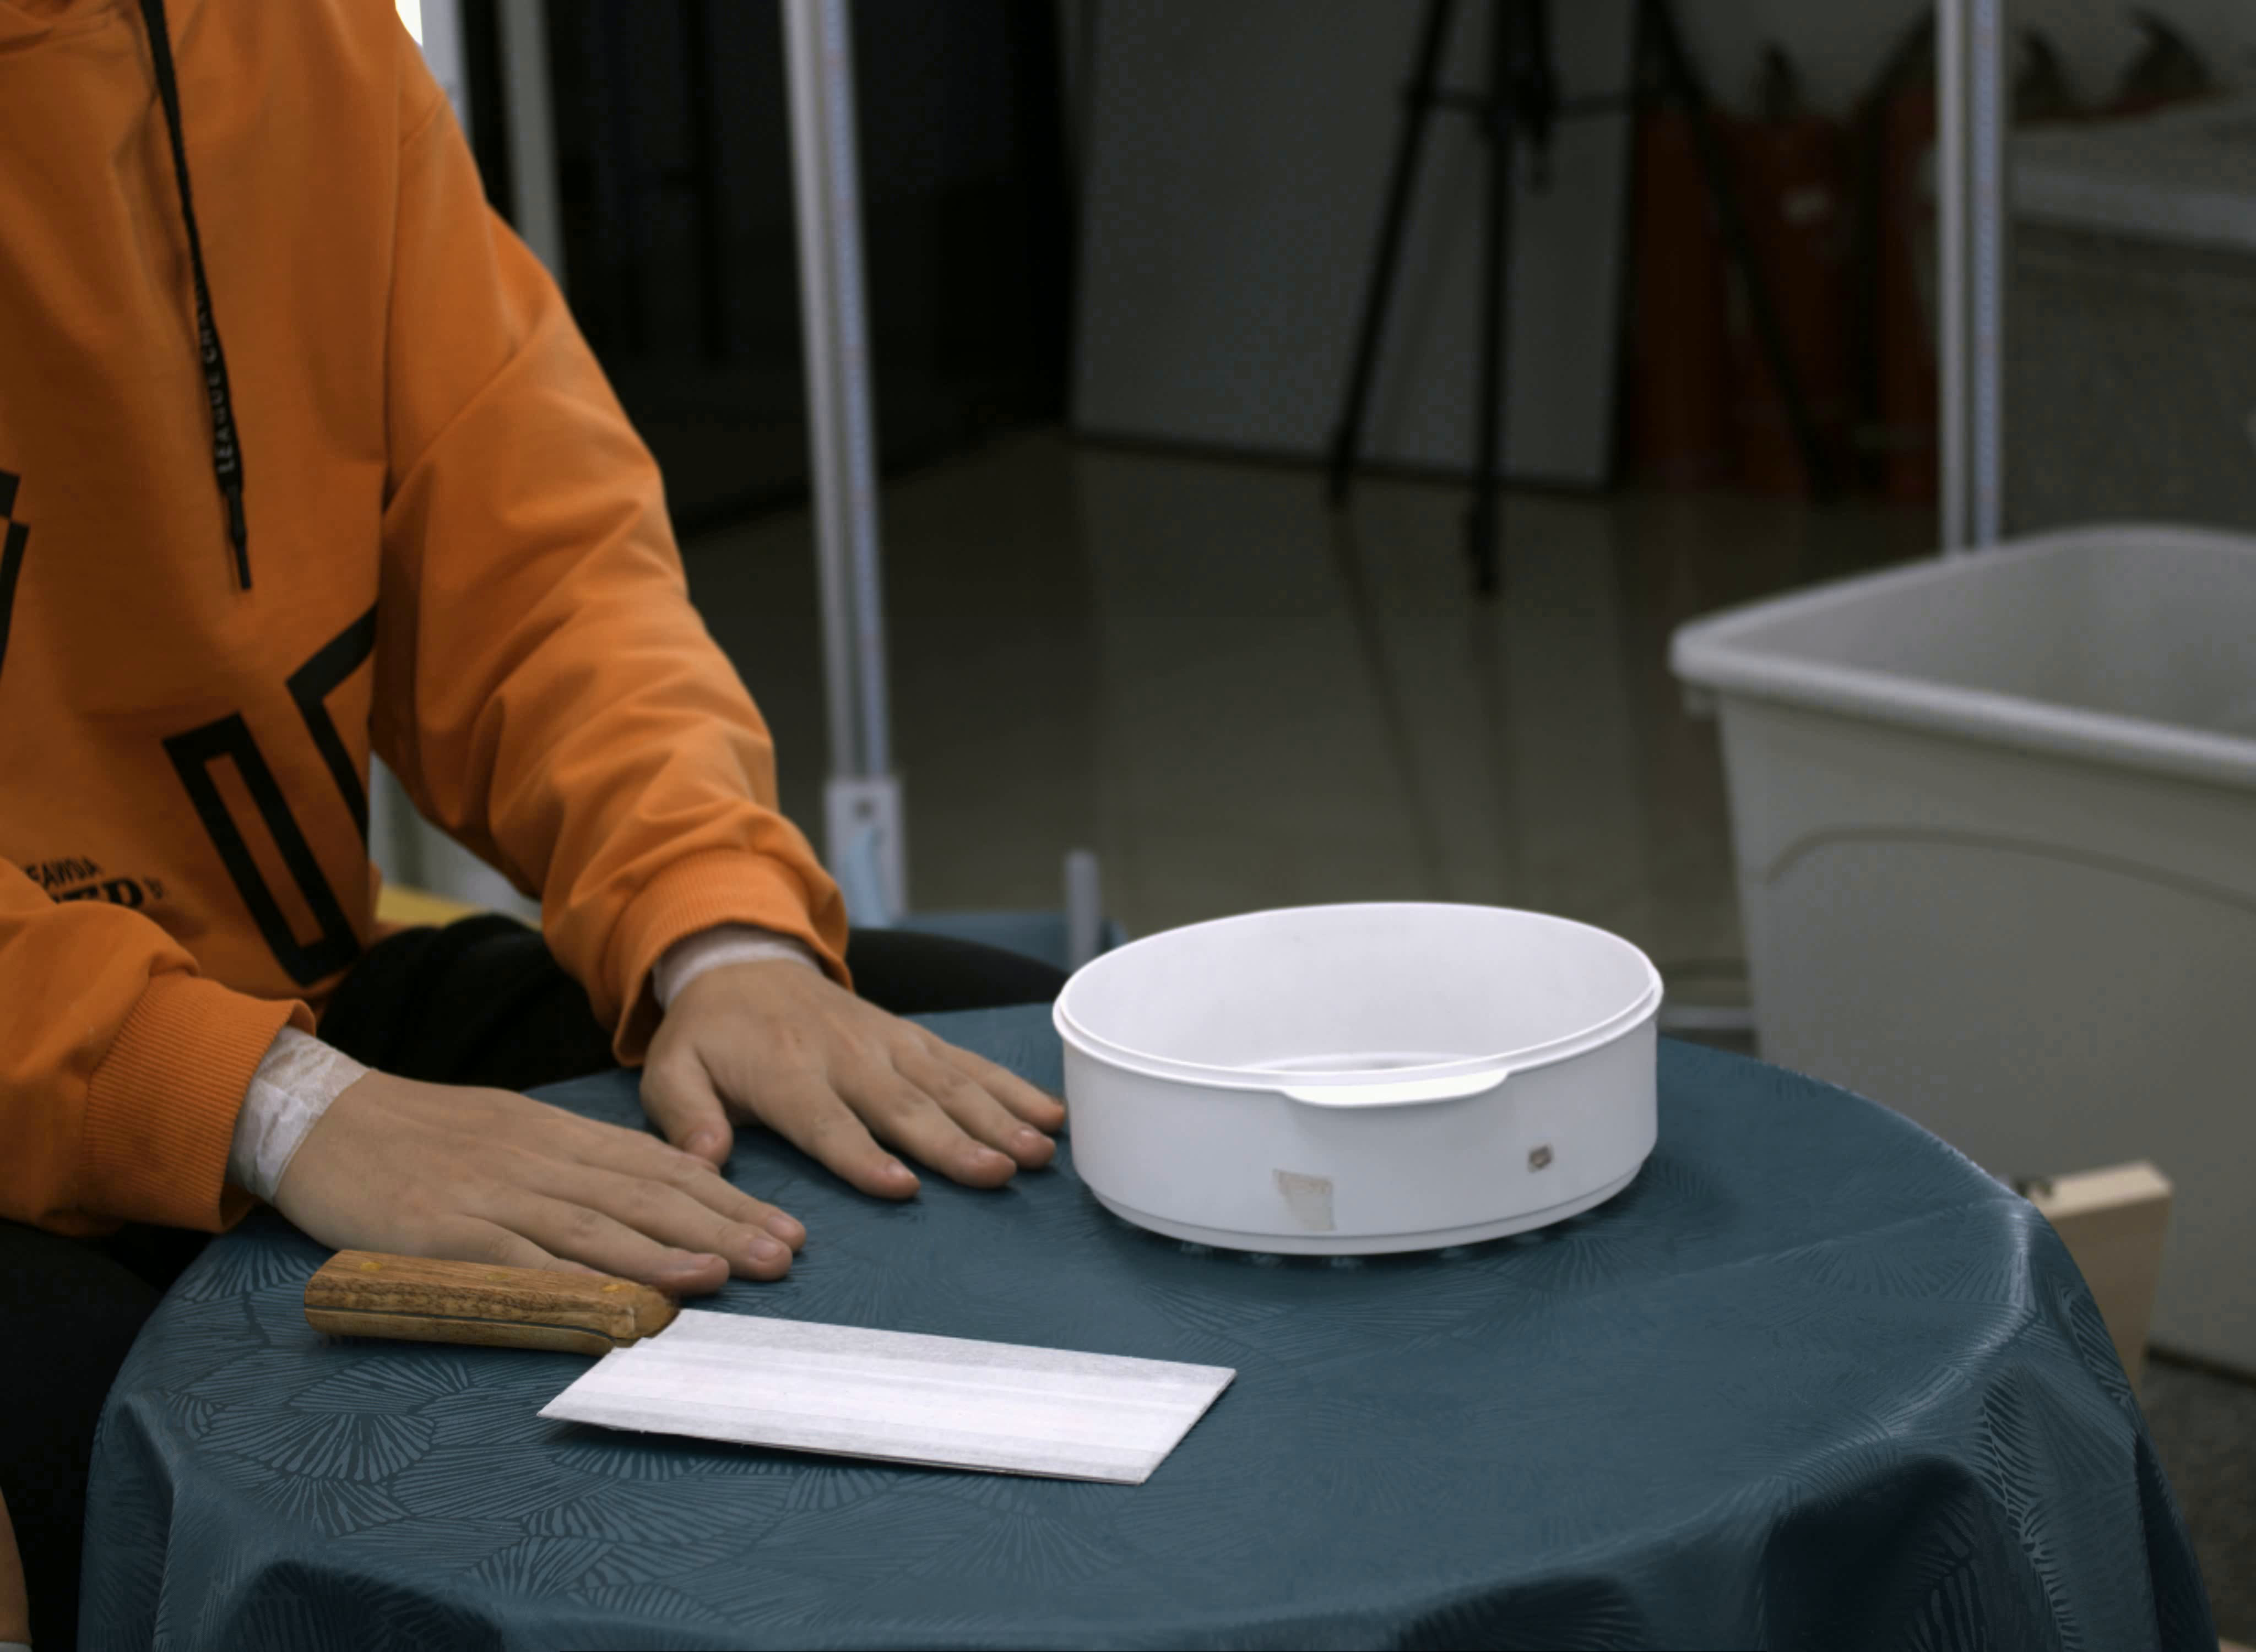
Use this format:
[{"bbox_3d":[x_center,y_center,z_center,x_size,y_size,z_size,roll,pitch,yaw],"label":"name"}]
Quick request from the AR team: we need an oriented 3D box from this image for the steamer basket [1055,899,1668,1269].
[{"bbox_3d":[0.077,0.084,1.755,0.199,0.070,0.231,-6,16,-3],"label":"steamer basket"}]

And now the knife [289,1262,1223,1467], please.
[{"bbox_3d":[-0.123,0.163,1.606,0.305,0.021,0.092,4,17,21],"label":"knife"}]
